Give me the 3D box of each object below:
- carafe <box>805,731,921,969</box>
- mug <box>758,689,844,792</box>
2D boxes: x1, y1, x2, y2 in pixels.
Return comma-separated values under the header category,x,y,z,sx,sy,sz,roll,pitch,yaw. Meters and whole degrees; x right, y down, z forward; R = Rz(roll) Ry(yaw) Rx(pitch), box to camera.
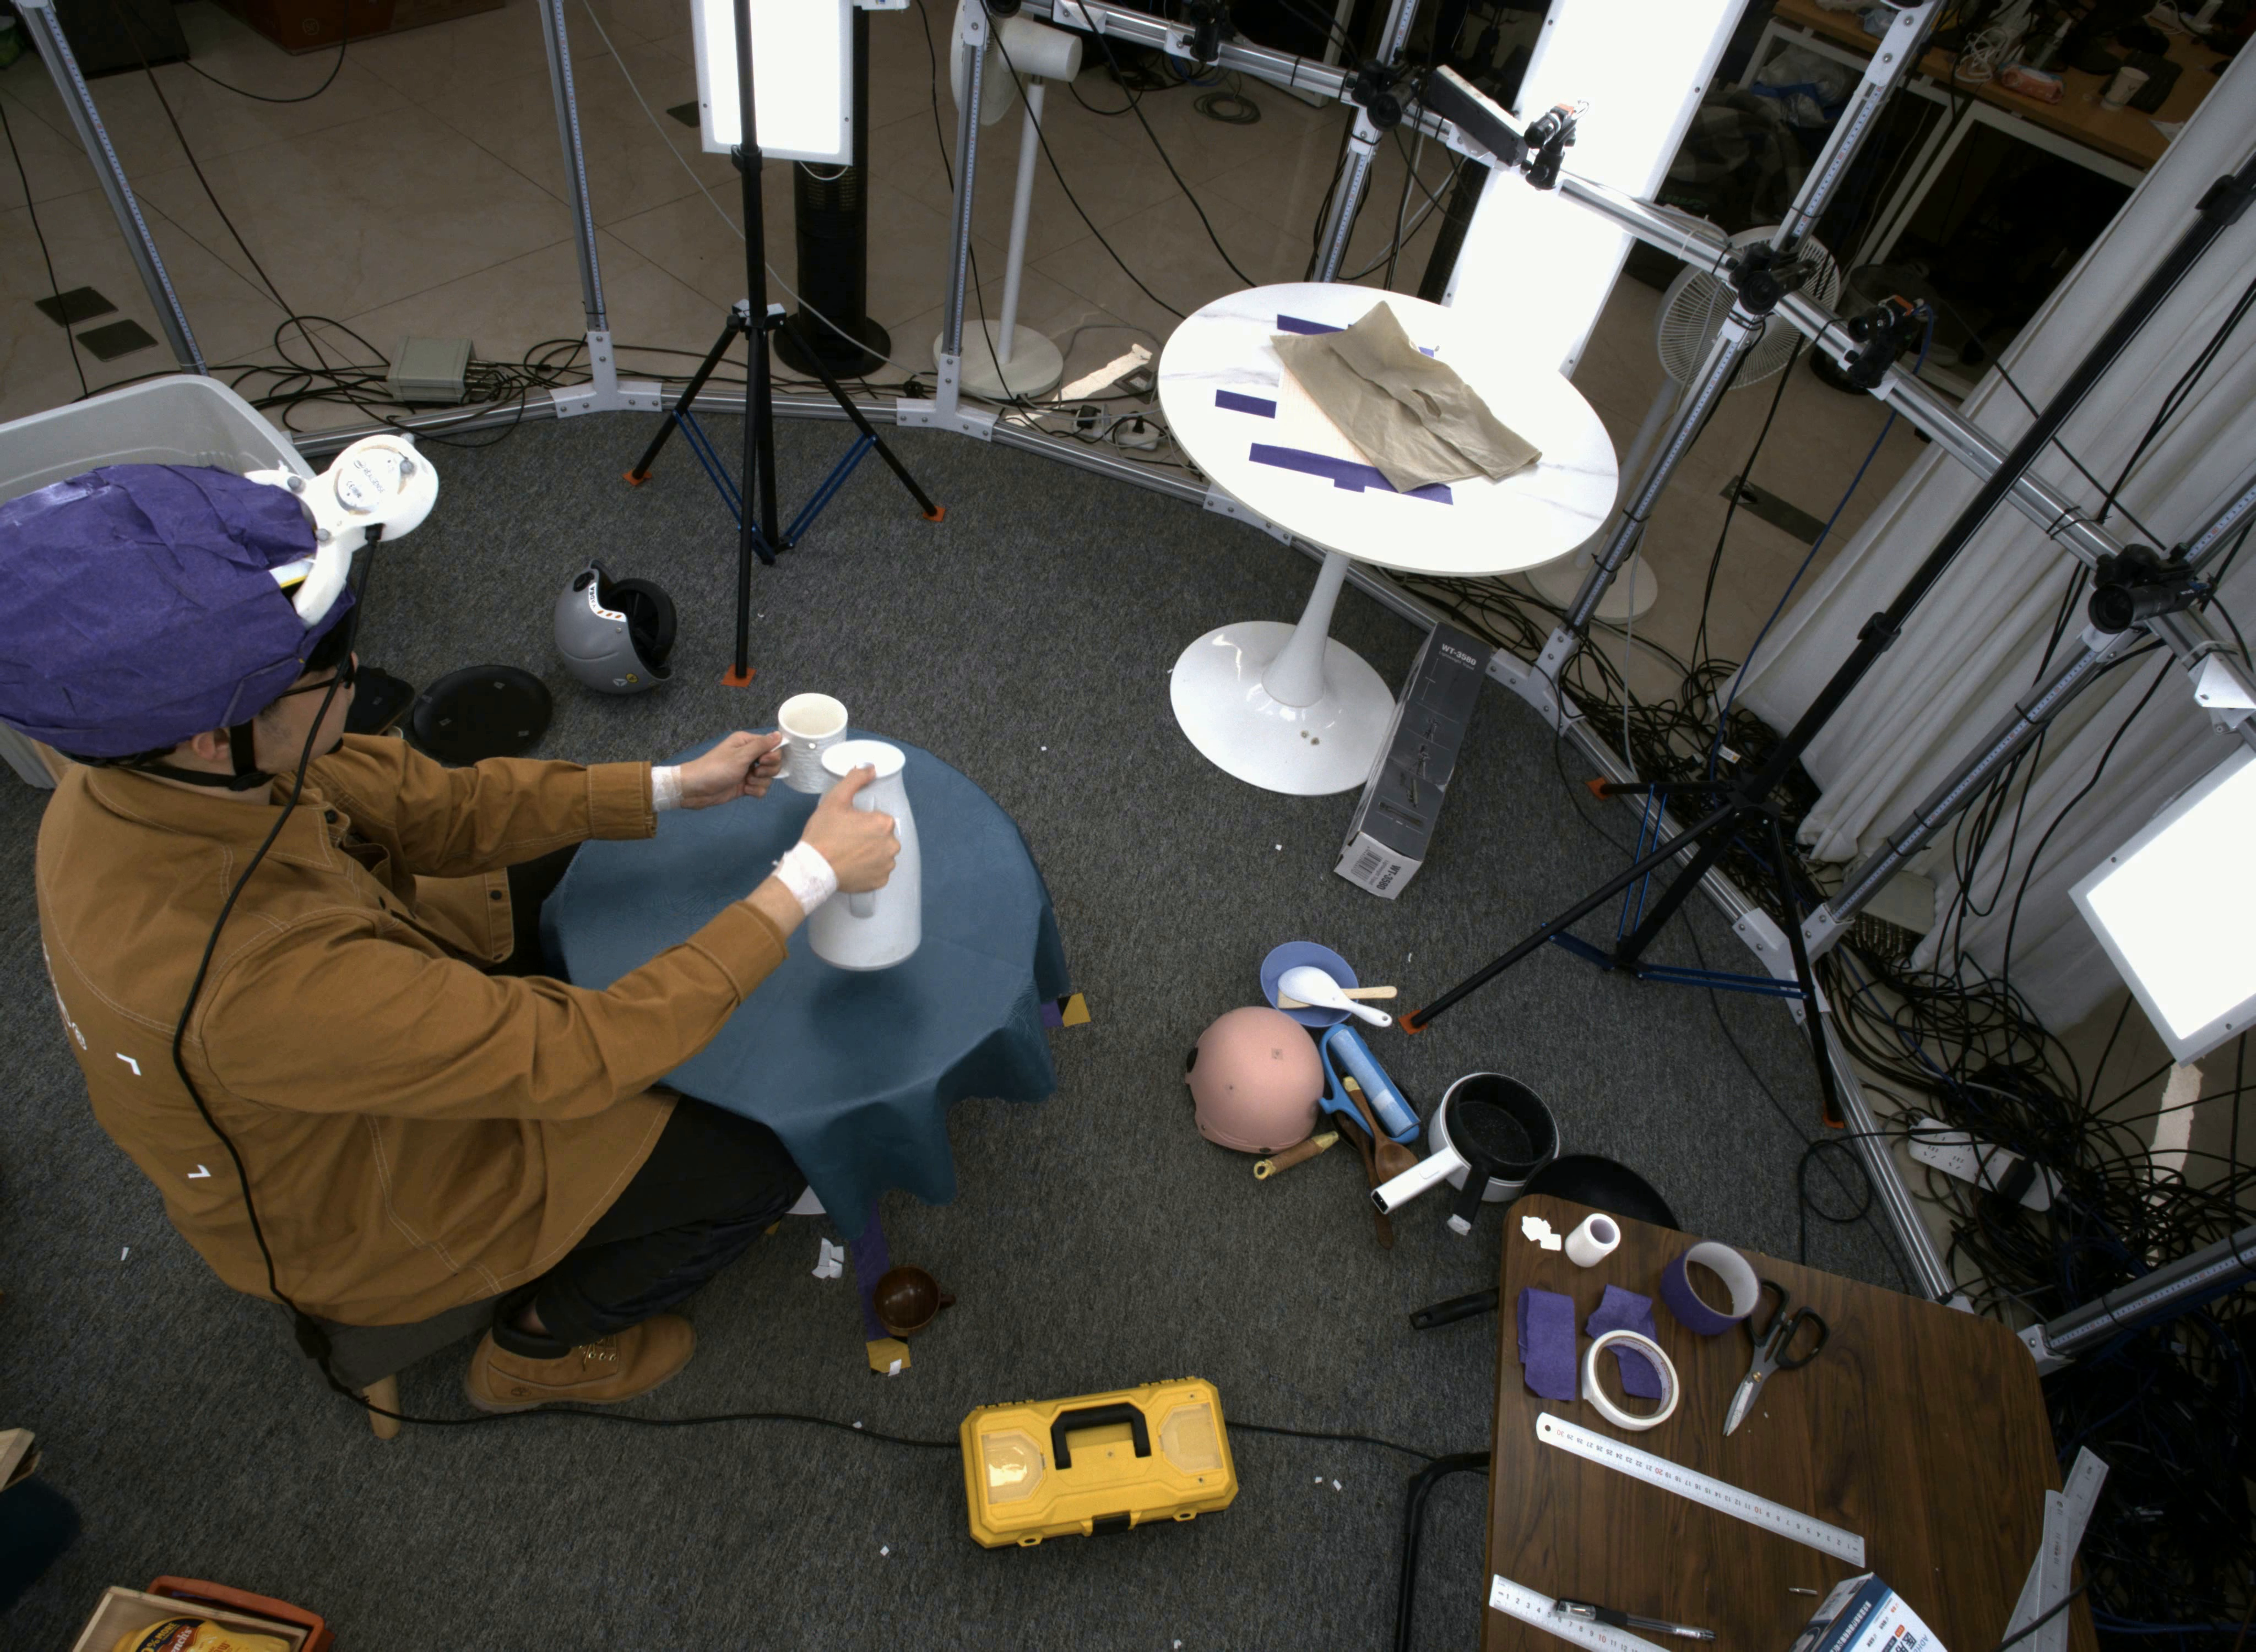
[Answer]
category,x,y,z,sx,sy,sz,roll,pitch,yaw
carafe,-0.297,0.029,1.453,0.132,0.256,0.163,-1,30,-11
mug,-0.416,-0.100,1.639,0.082,0.104,0.118,35,48,22
